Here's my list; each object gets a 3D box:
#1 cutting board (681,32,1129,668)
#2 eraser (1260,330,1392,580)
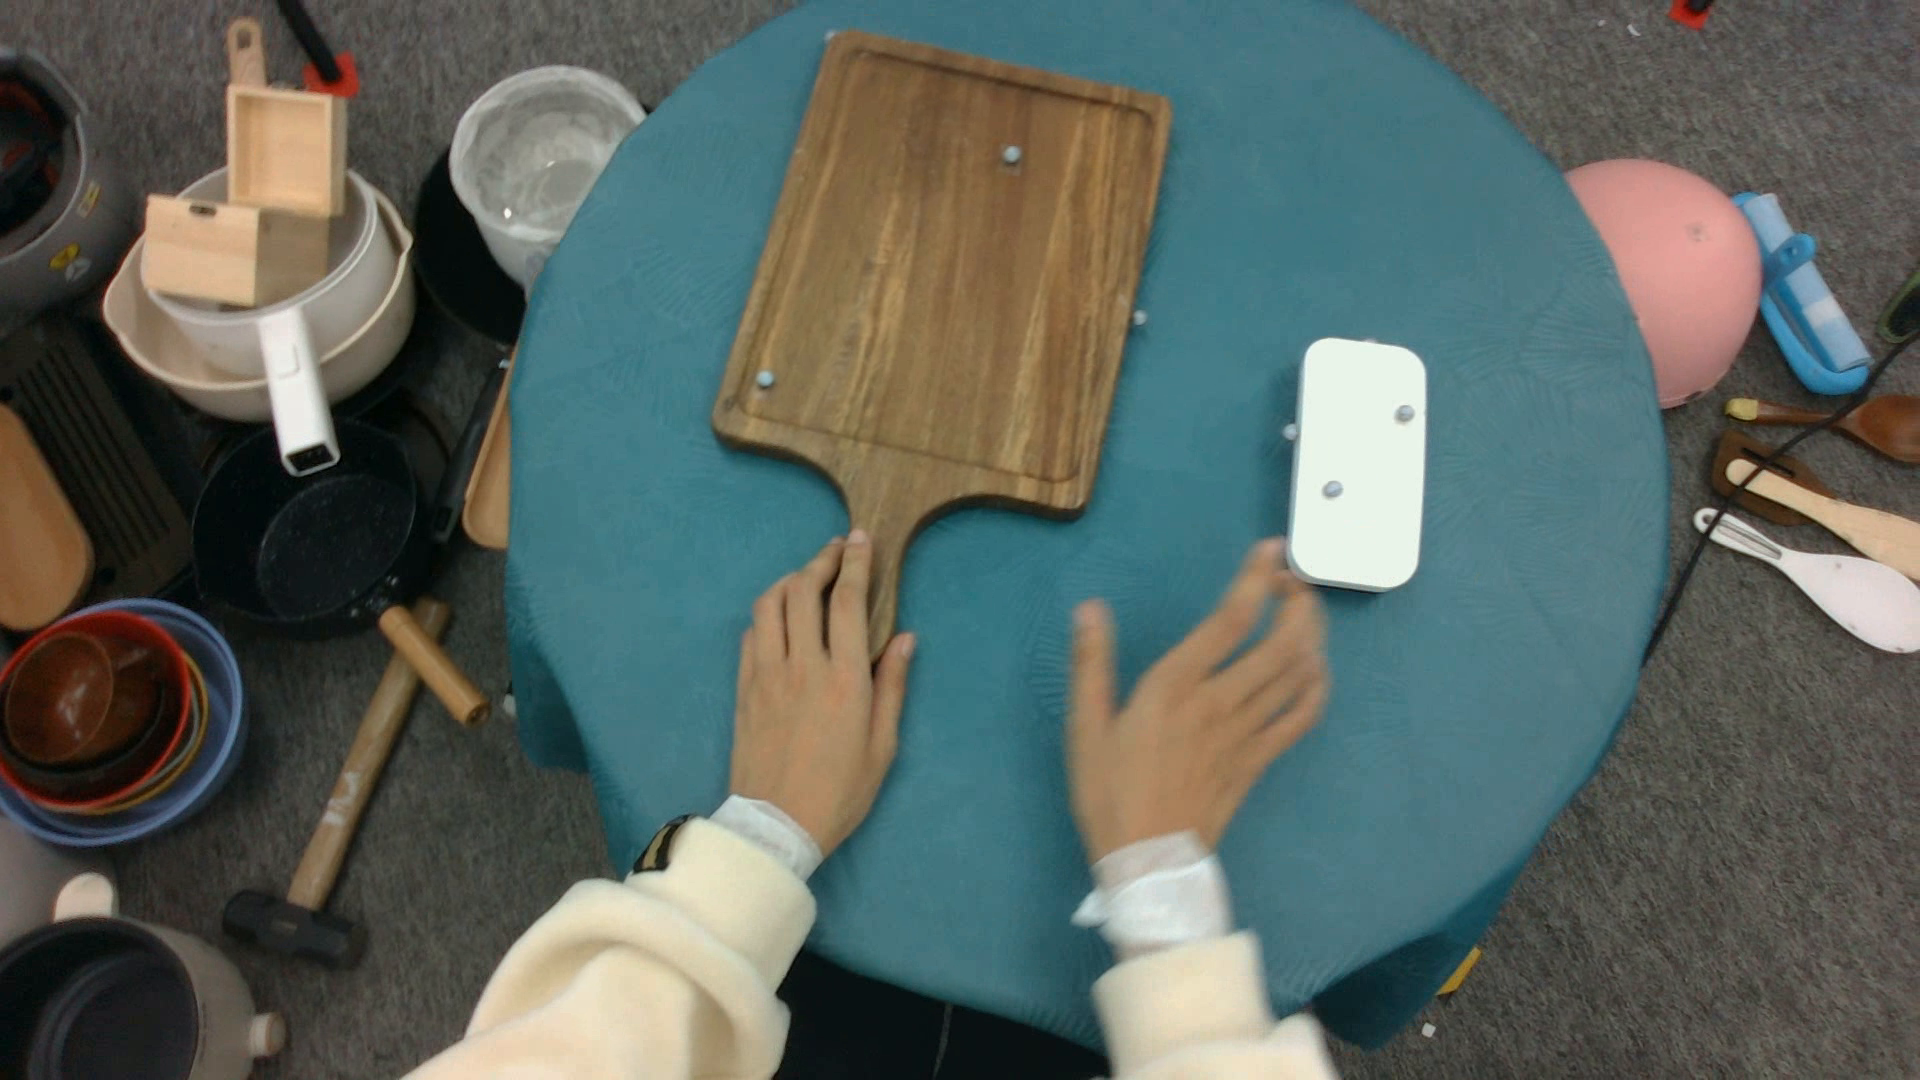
[{"bbox_3d":[-0.032,-0.105,0.712,0.201,0.023,0.353,11,70,1],"label":"cutting board"},{"bbox_3d":[0.183,-0.045,0.697,0.063,0.034,0.132,8,69,1],"label":"eraser"}]
